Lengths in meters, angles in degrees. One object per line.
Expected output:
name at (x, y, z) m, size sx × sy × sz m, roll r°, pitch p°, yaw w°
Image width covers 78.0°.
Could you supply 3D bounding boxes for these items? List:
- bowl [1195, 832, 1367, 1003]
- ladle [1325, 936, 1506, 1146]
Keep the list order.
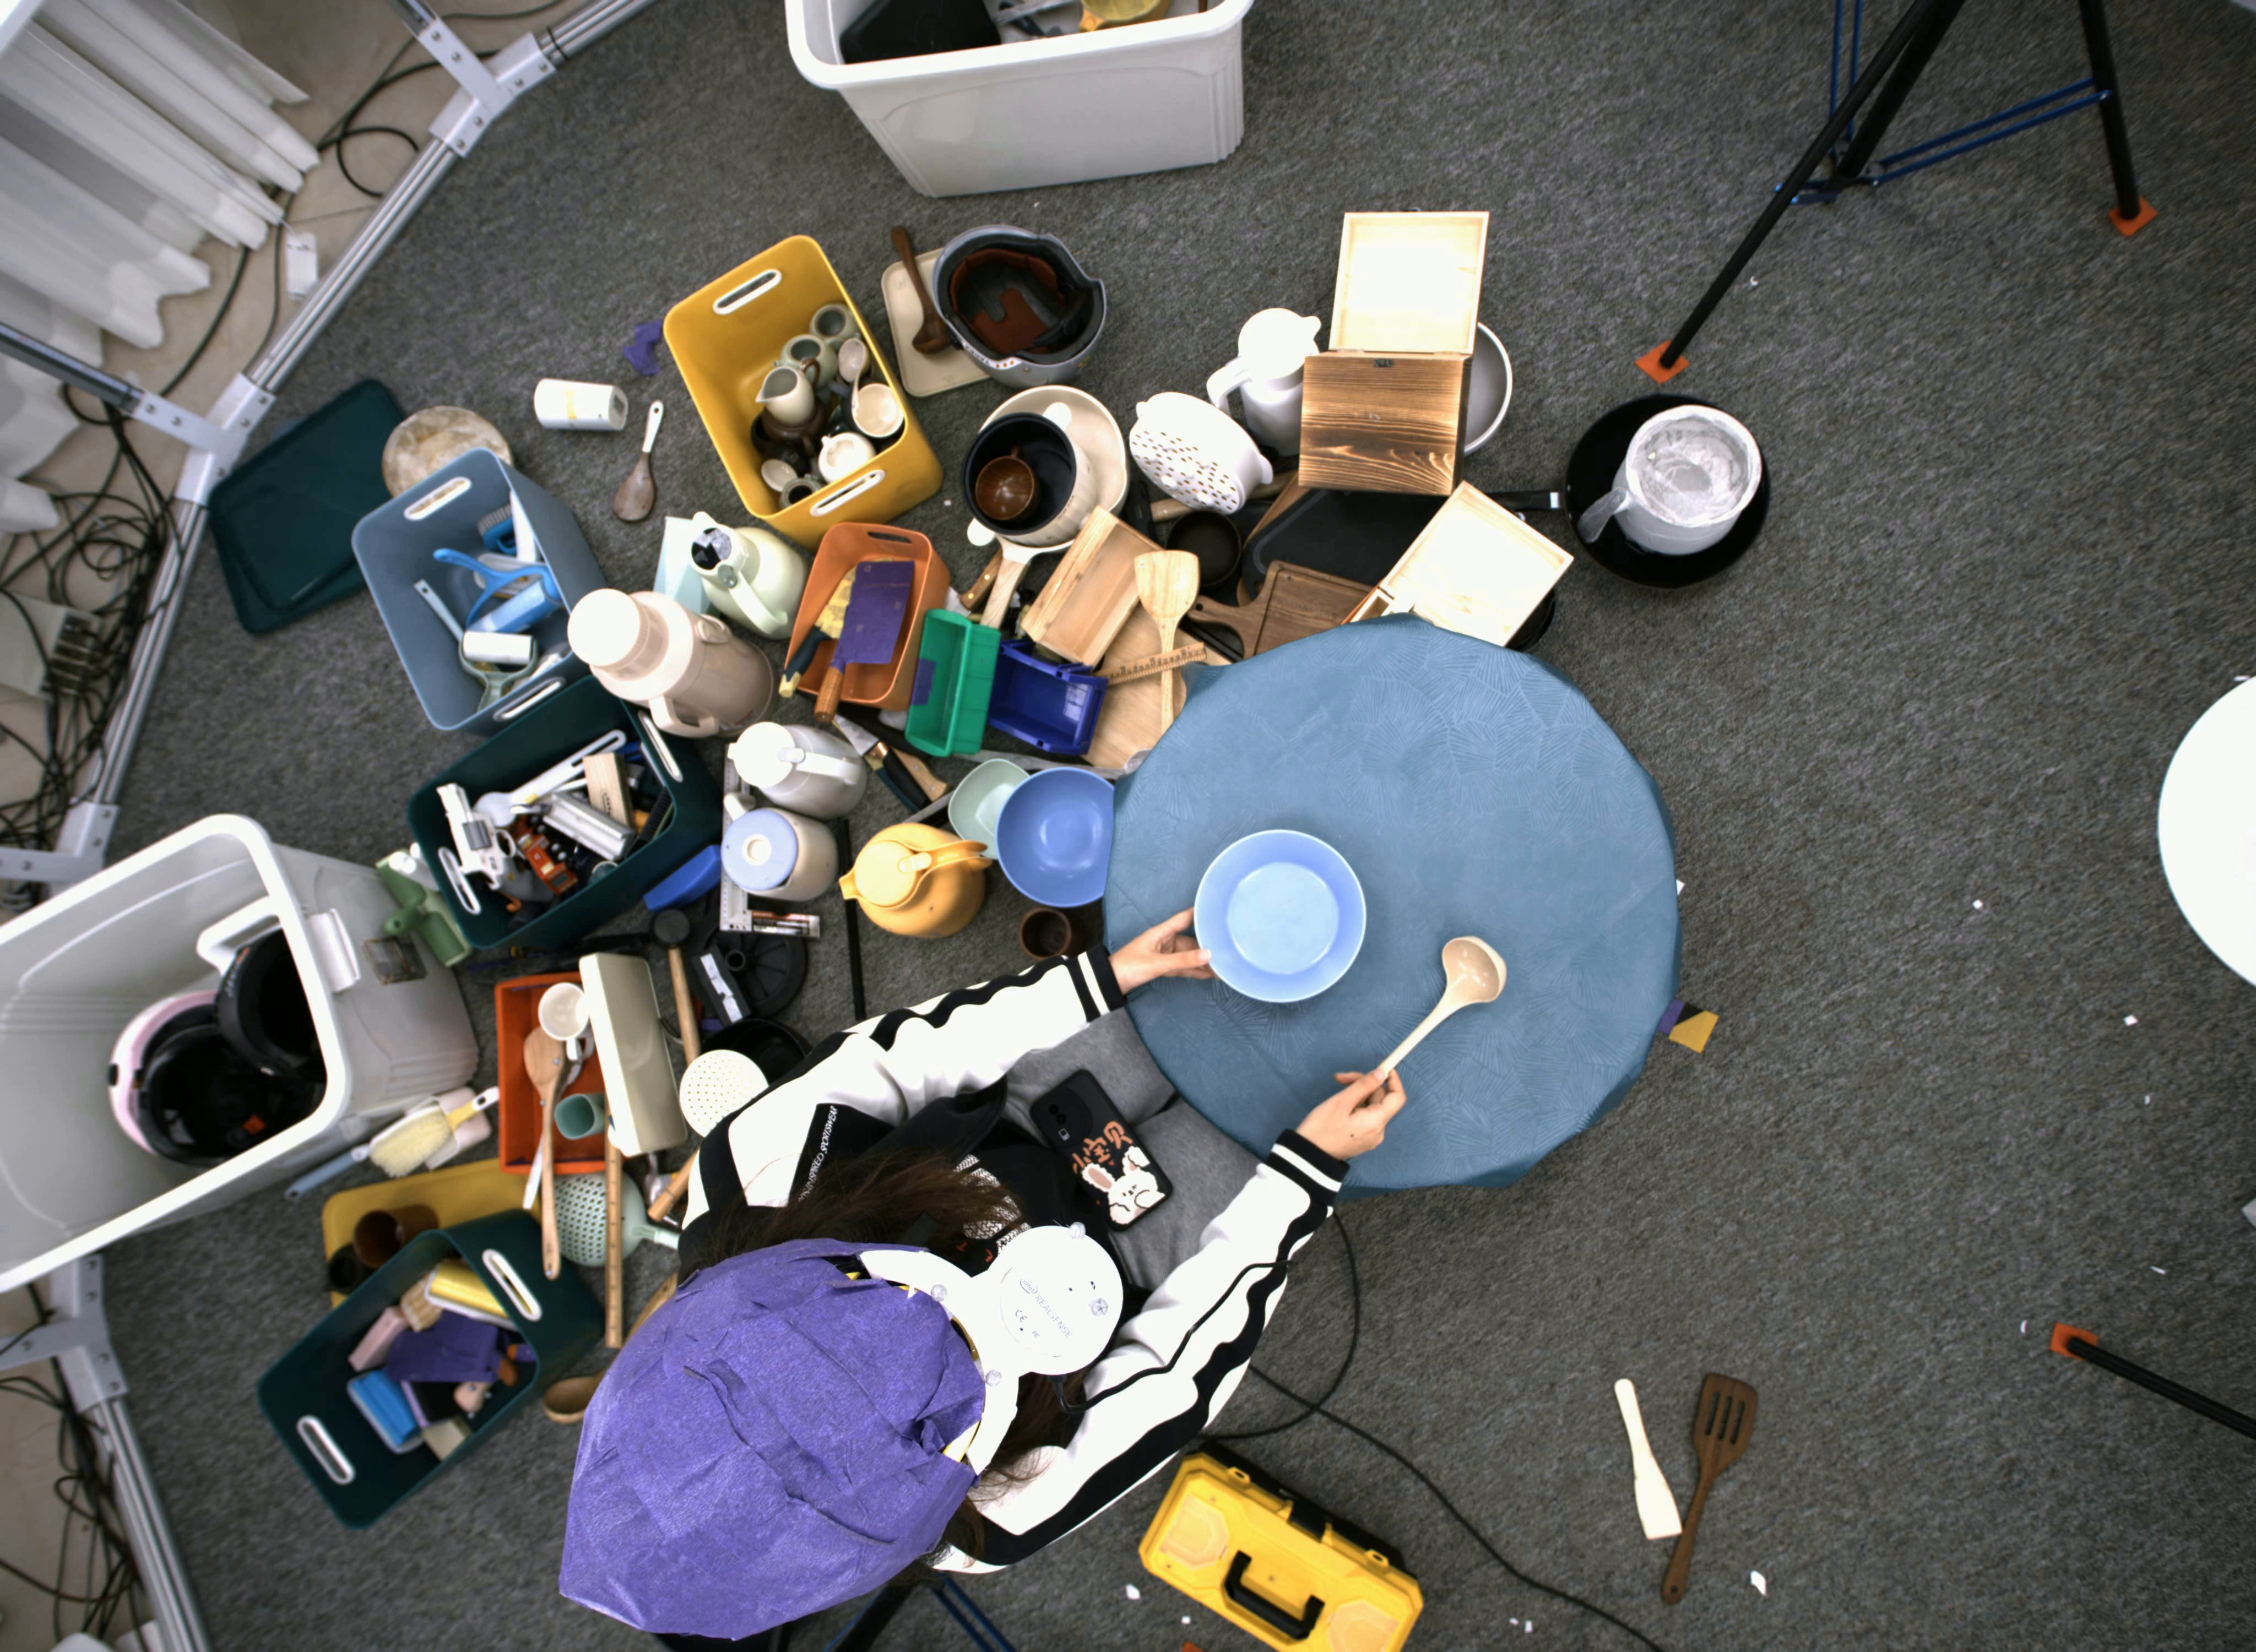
bowl at (0.160, 0.096, 1.444) m, size 0.177 × 0.070 × 0.175 m, roll -1°, pitch 85°, yaw 11°
ladle at (0.279, 0.213, 1.381) m, size 0.071 × 0.074 × 0.253 m, roll 40°, pitch 83°, yaw 26°
